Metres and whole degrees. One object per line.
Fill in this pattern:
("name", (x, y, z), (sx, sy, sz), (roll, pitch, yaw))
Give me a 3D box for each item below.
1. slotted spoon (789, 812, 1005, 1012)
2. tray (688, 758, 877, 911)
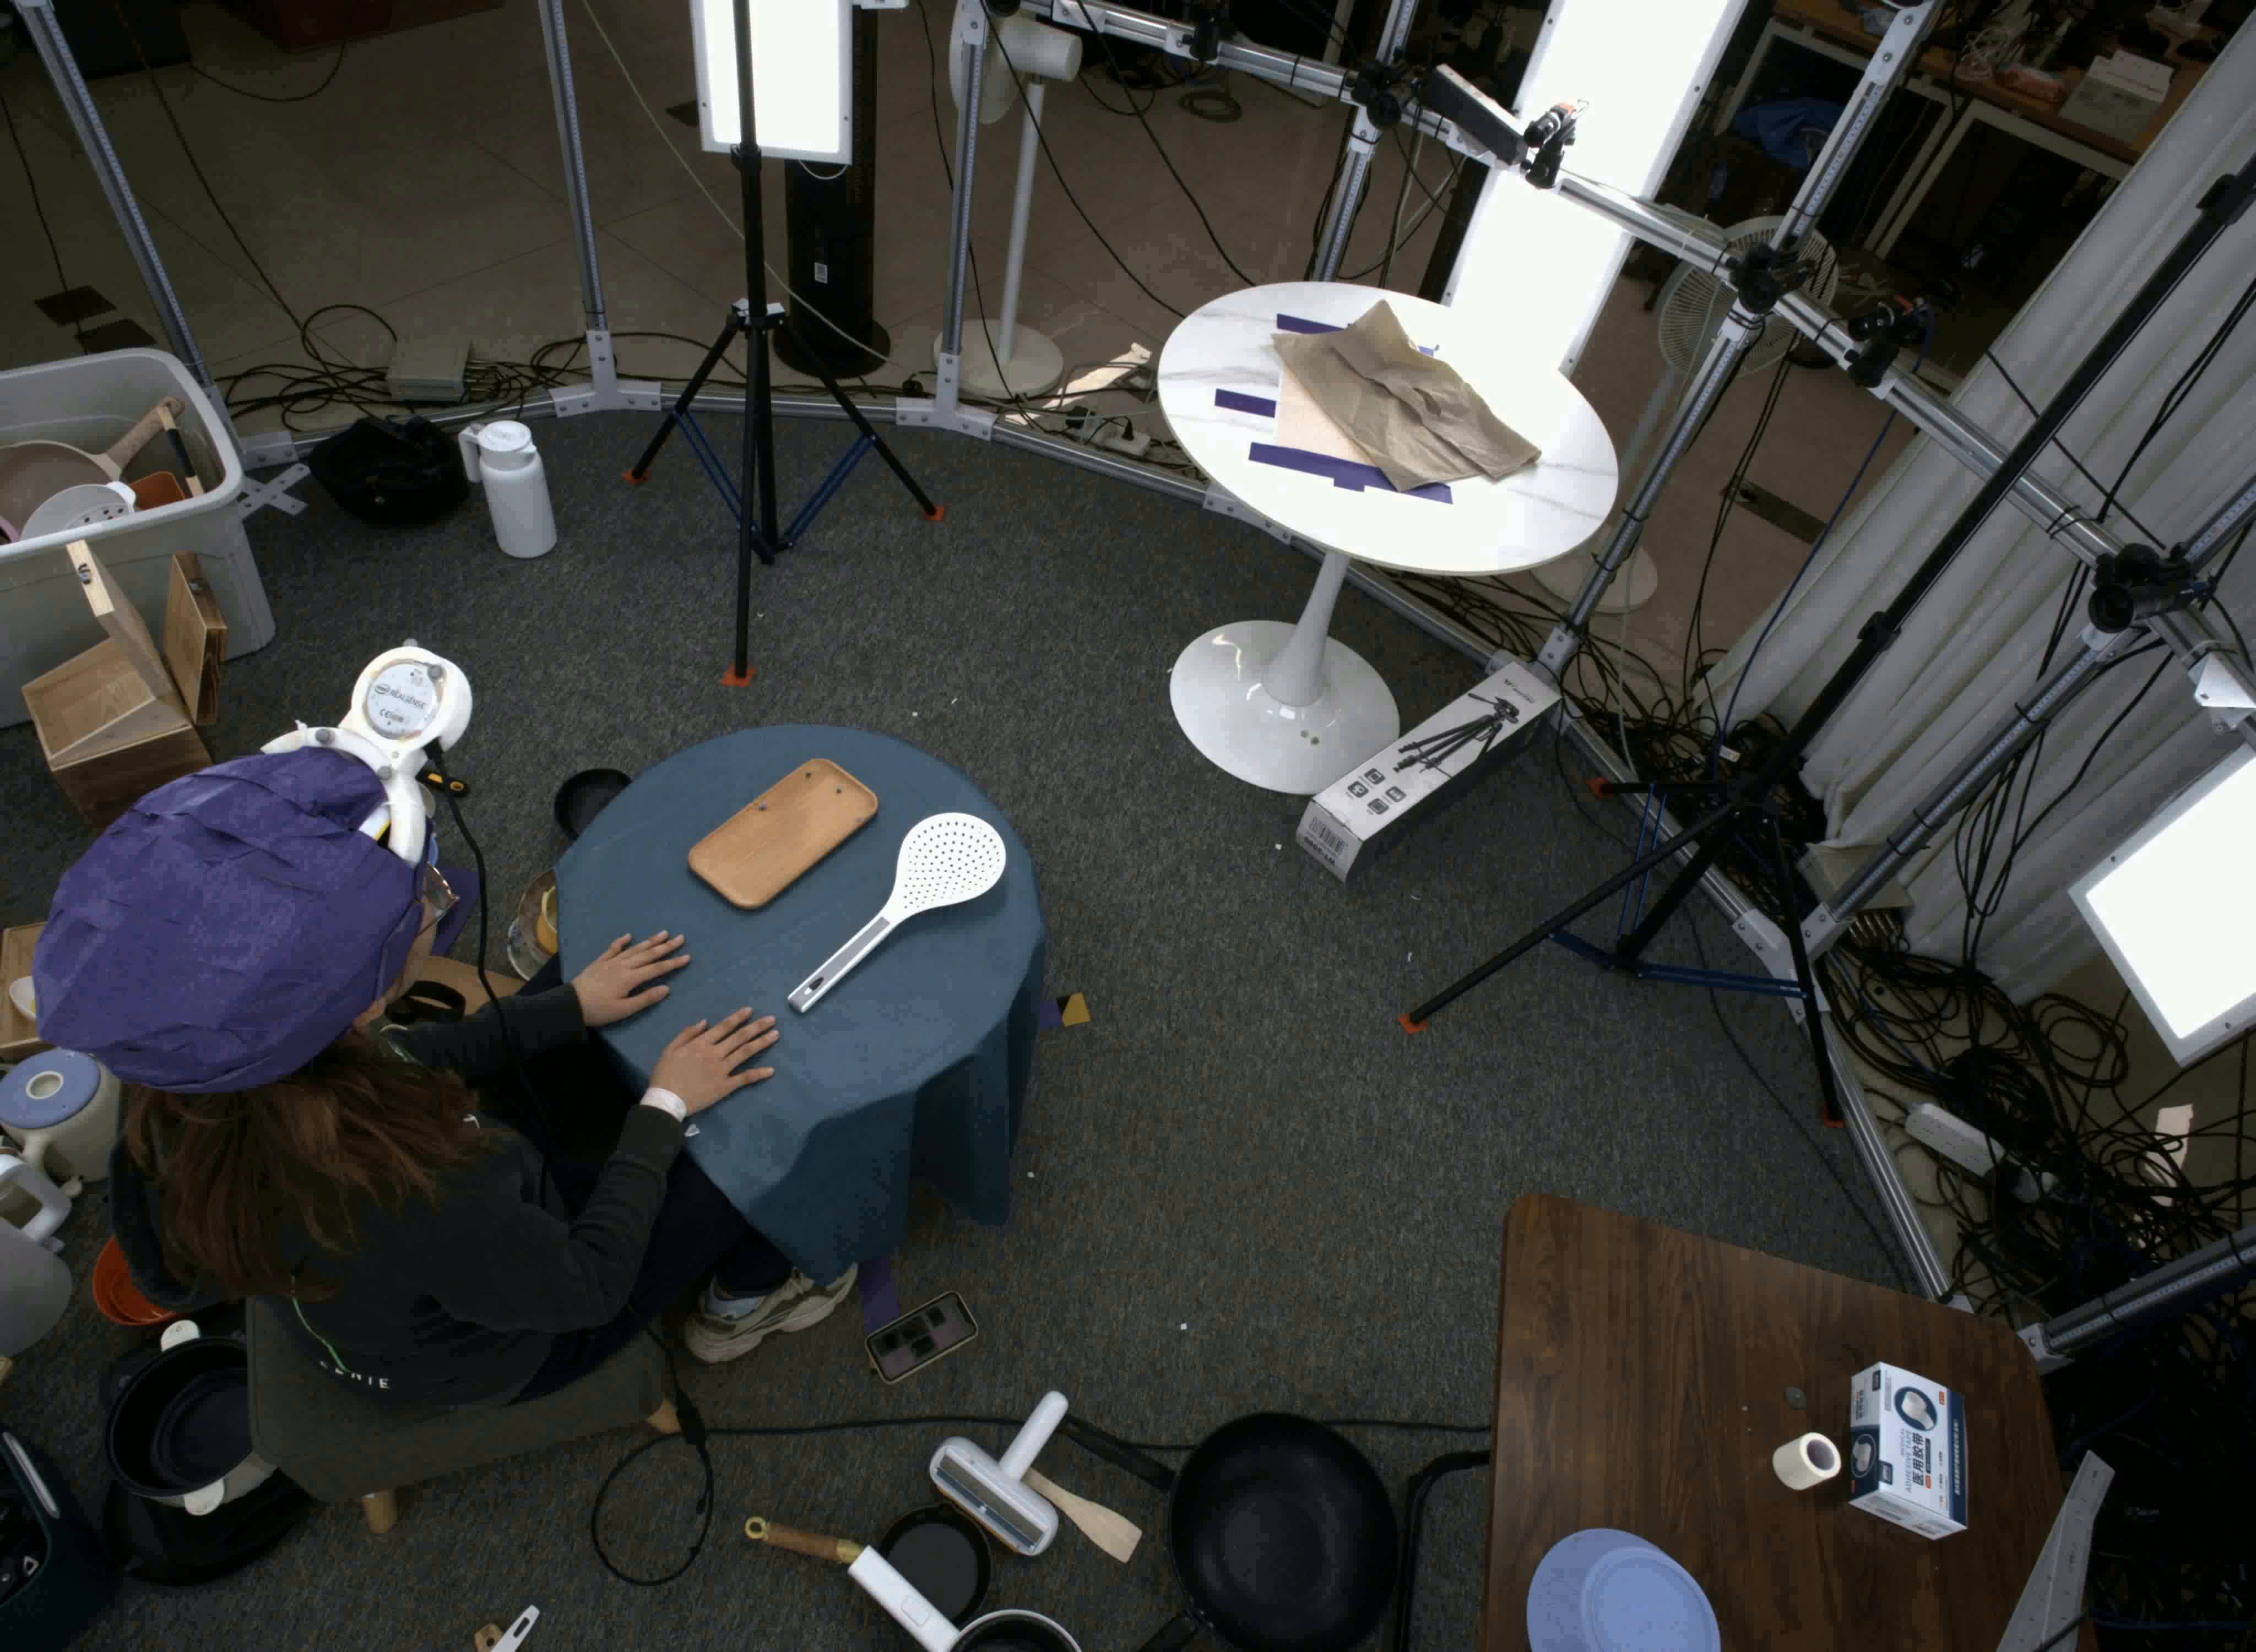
("slotted spoon", (-0.295, 0.108, 1.652), (0.133, 0.047, 0.349), (35, 54, 16))
("tray", (-0.451, 0.008, 1.706), (0.128, 0.023, 0.250), (35, 54, 15))
